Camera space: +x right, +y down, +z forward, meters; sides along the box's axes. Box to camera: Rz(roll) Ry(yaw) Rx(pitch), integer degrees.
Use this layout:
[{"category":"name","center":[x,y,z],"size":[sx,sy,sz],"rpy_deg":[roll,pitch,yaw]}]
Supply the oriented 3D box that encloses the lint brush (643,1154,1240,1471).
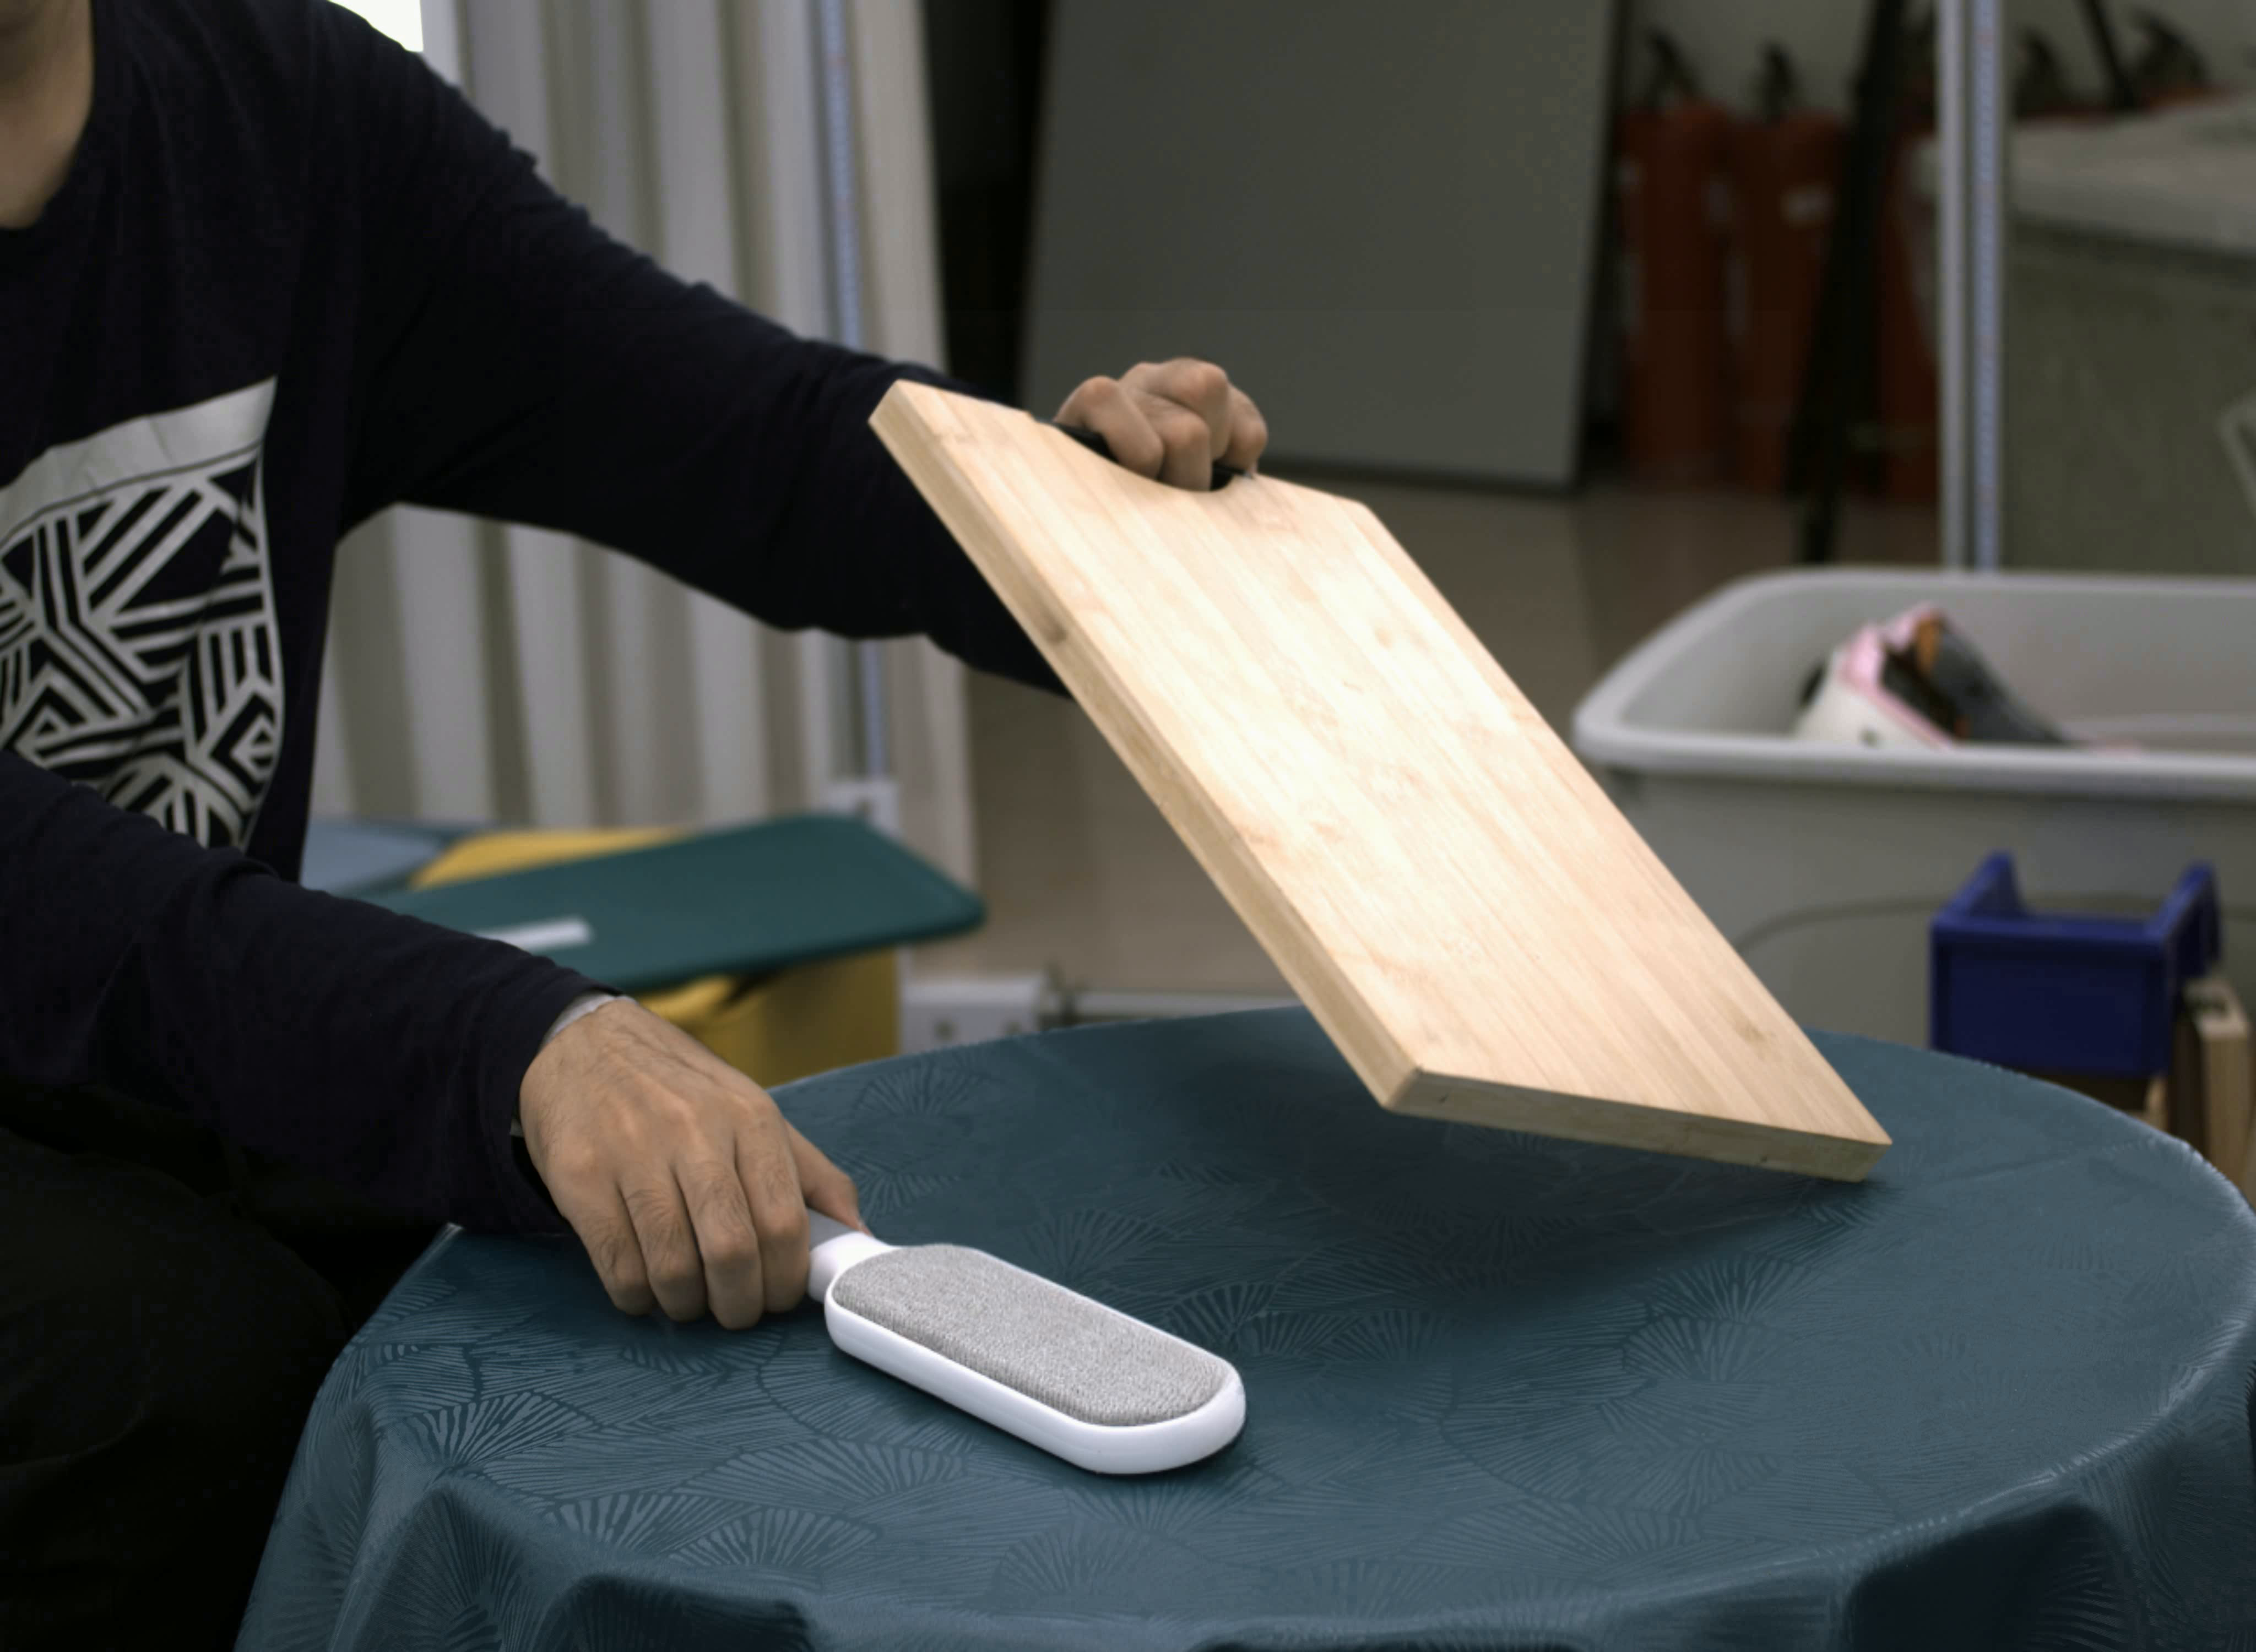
[{"category":"lint brush","center":[-0.064,0.142,1.636],"size":[0.059,0.021,0.312],"rpy_deg":[-24,22,-28]}]

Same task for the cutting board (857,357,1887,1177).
[{"category":"cutting board","center":[0.077,-0.020,1.757],"size":[0.245,0.024,0.353],"rpy_deg":[12,32,-45]}]
